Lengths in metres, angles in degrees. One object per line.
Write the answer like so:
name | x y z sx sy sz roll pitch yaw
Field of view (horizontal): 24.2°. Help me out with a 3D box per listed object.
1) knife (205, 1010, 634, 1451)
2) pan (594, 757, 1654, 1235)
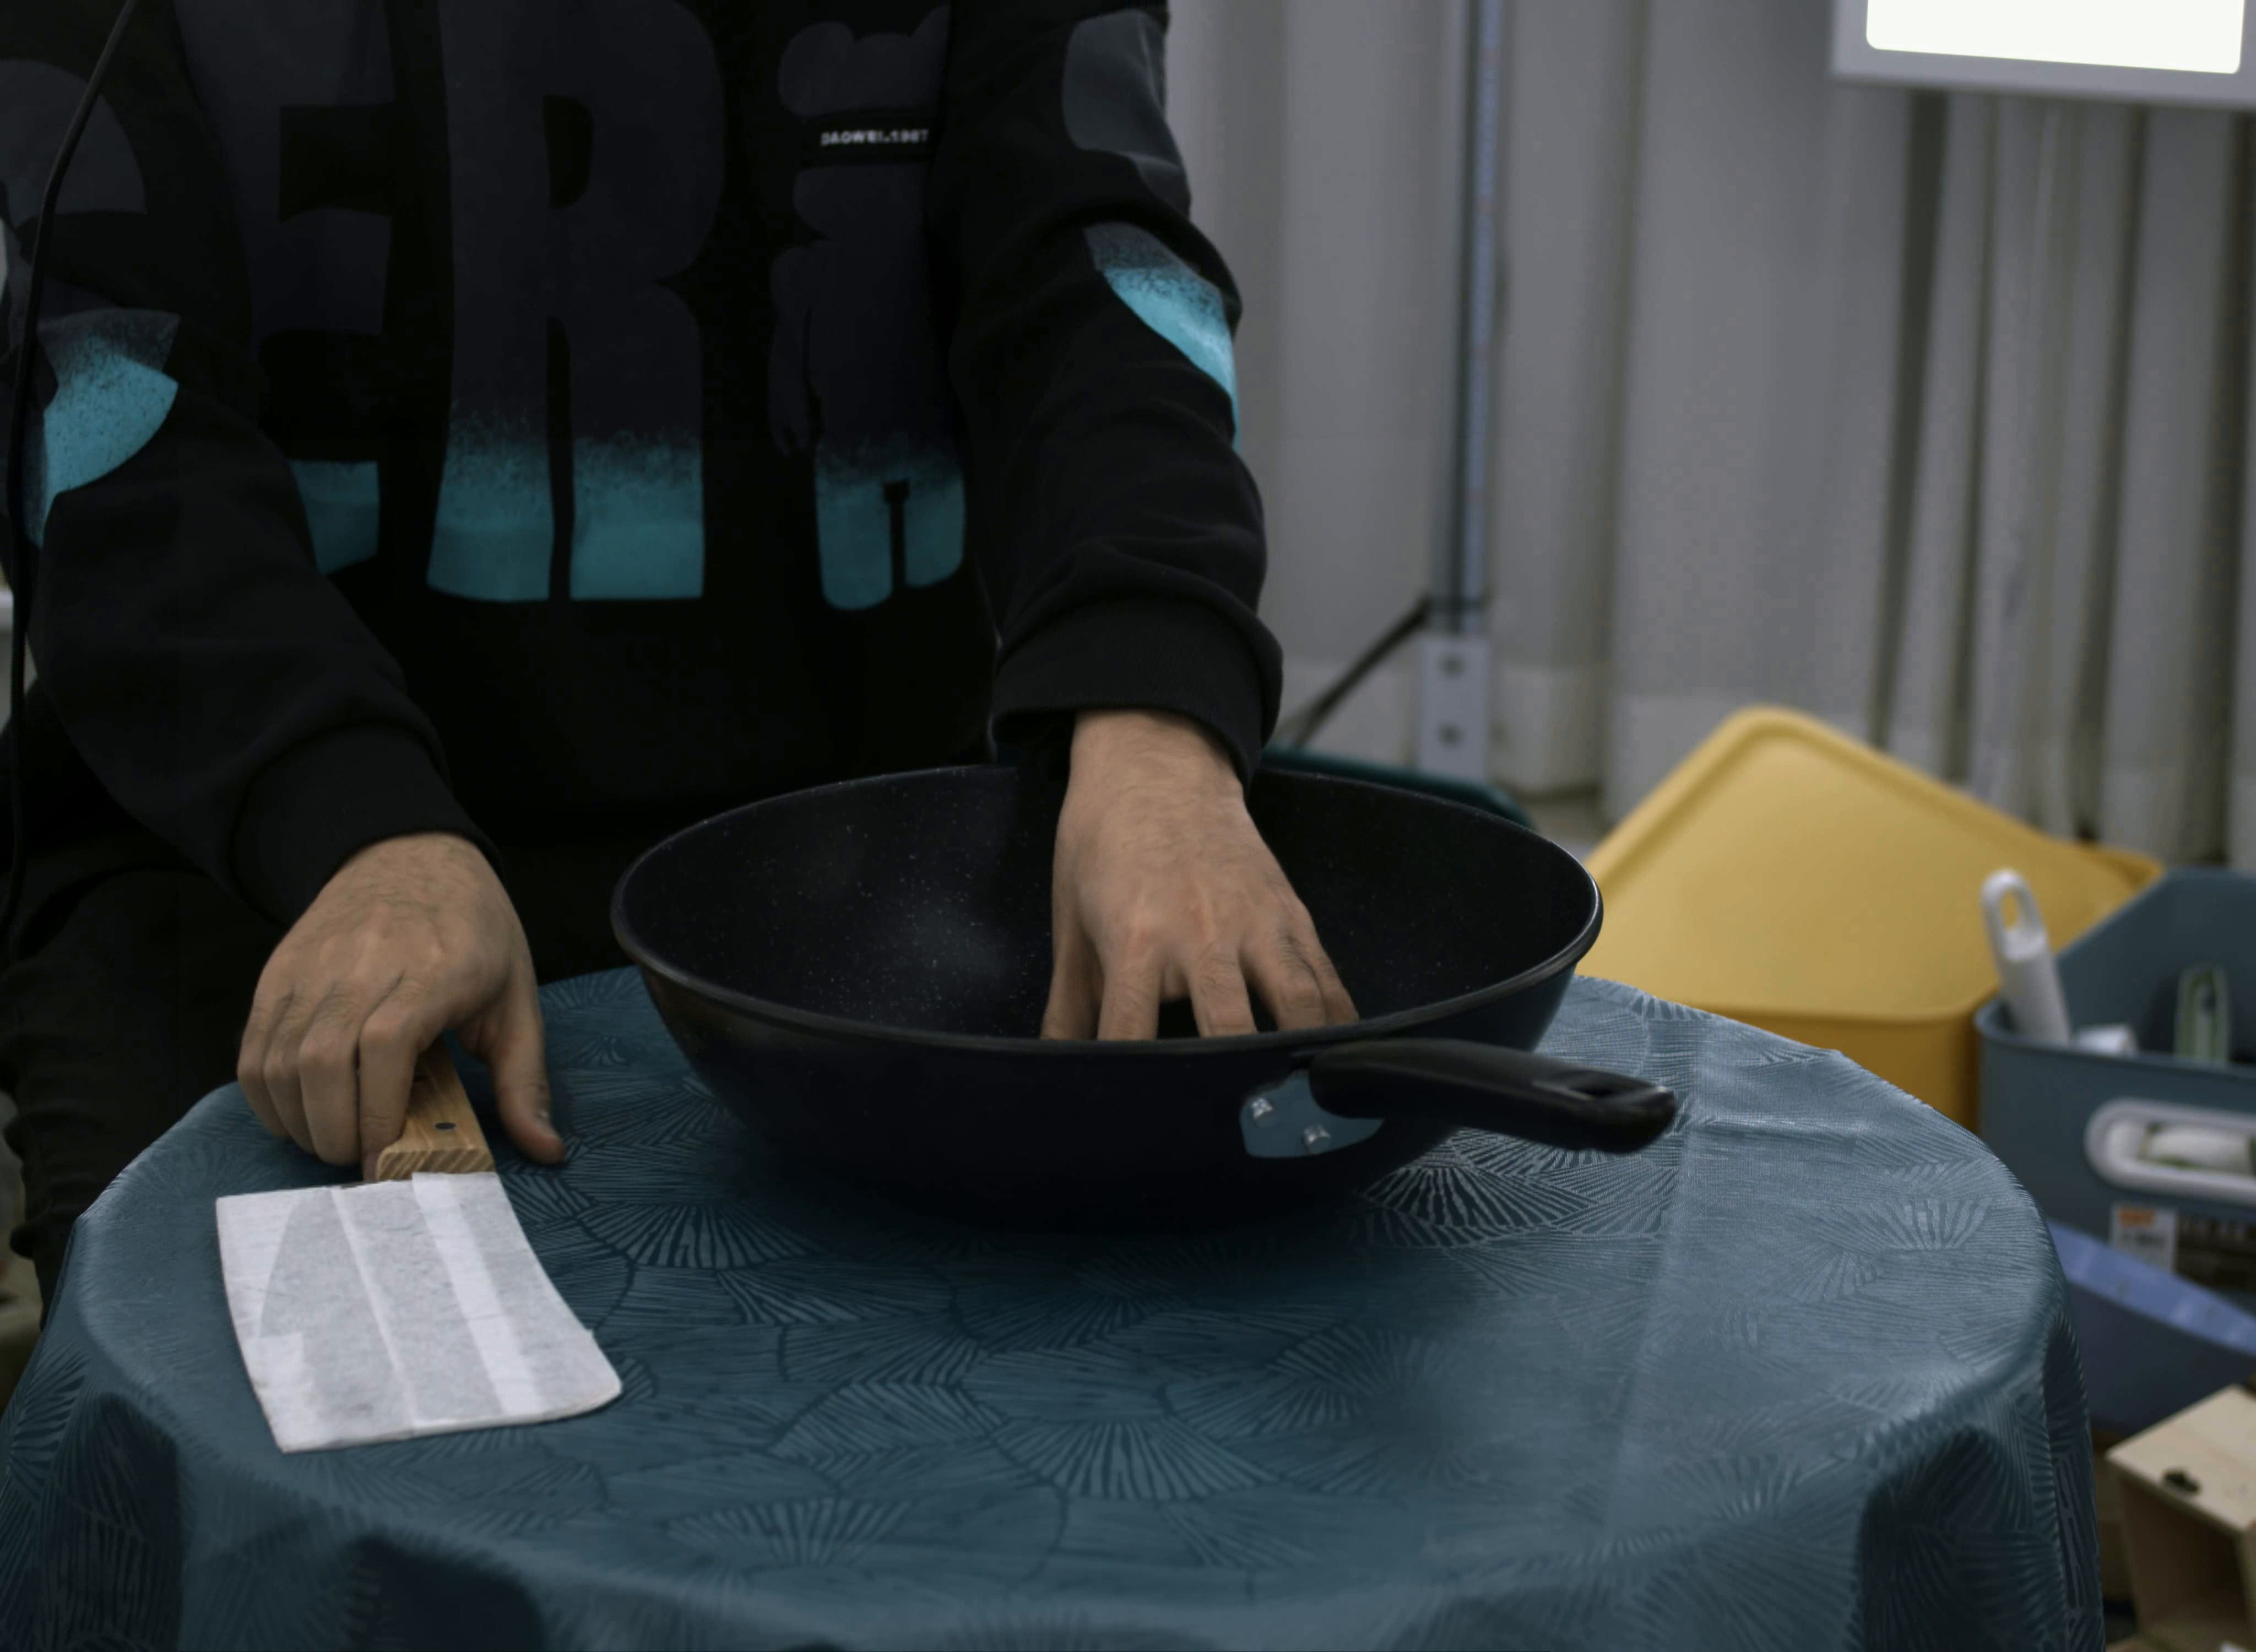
knife | -0.216 0.117 1.565 0.114 0.022 0.312 -3 19 -11
pan | 0.025 0.069 1.581 0.311 0.112 0.471 -9 18 -25
